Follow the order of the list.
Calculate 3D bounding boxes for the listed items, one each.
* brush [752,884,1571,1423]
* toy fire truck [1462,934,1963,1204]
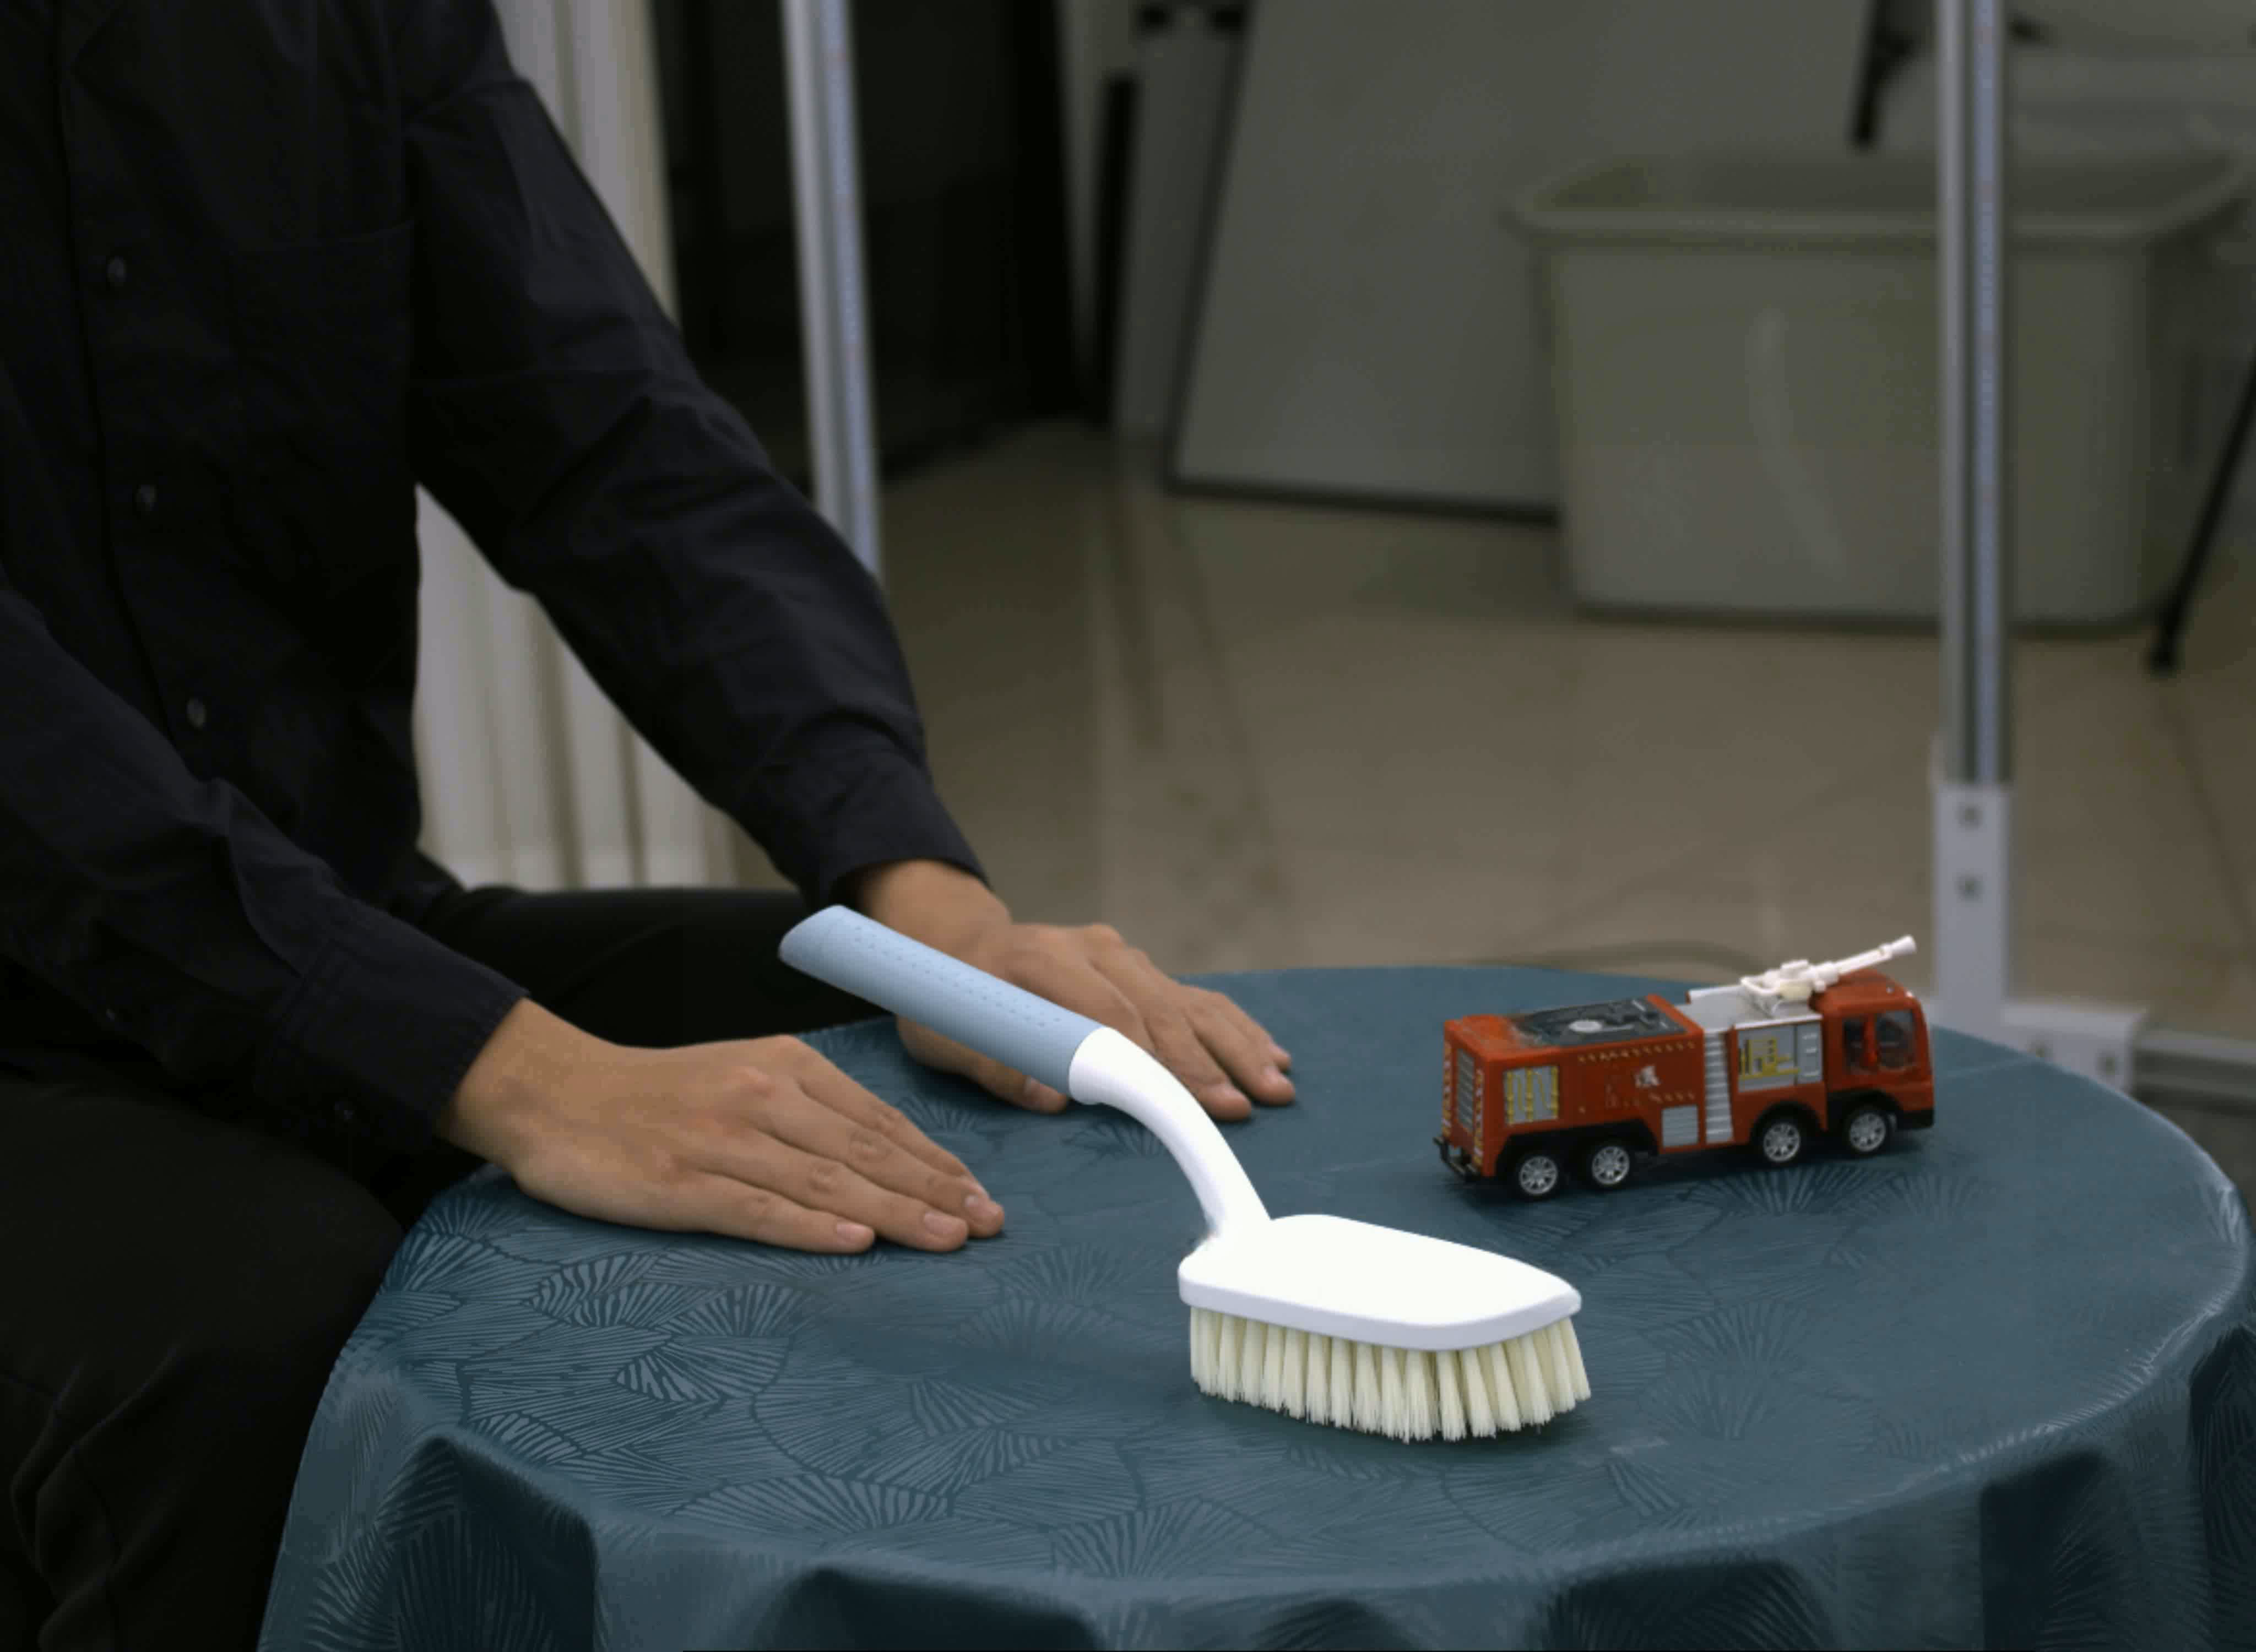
[{"bbox_3d":[0.004,0.112,1.632,0.328,0.085,0.082,24,-9,37],"label":"brush"},{"bbox_3d":[0.192,0.081,1.754,0.165,0.071,0.054,-8,12,-14],"label":"toy fire truck"}]
